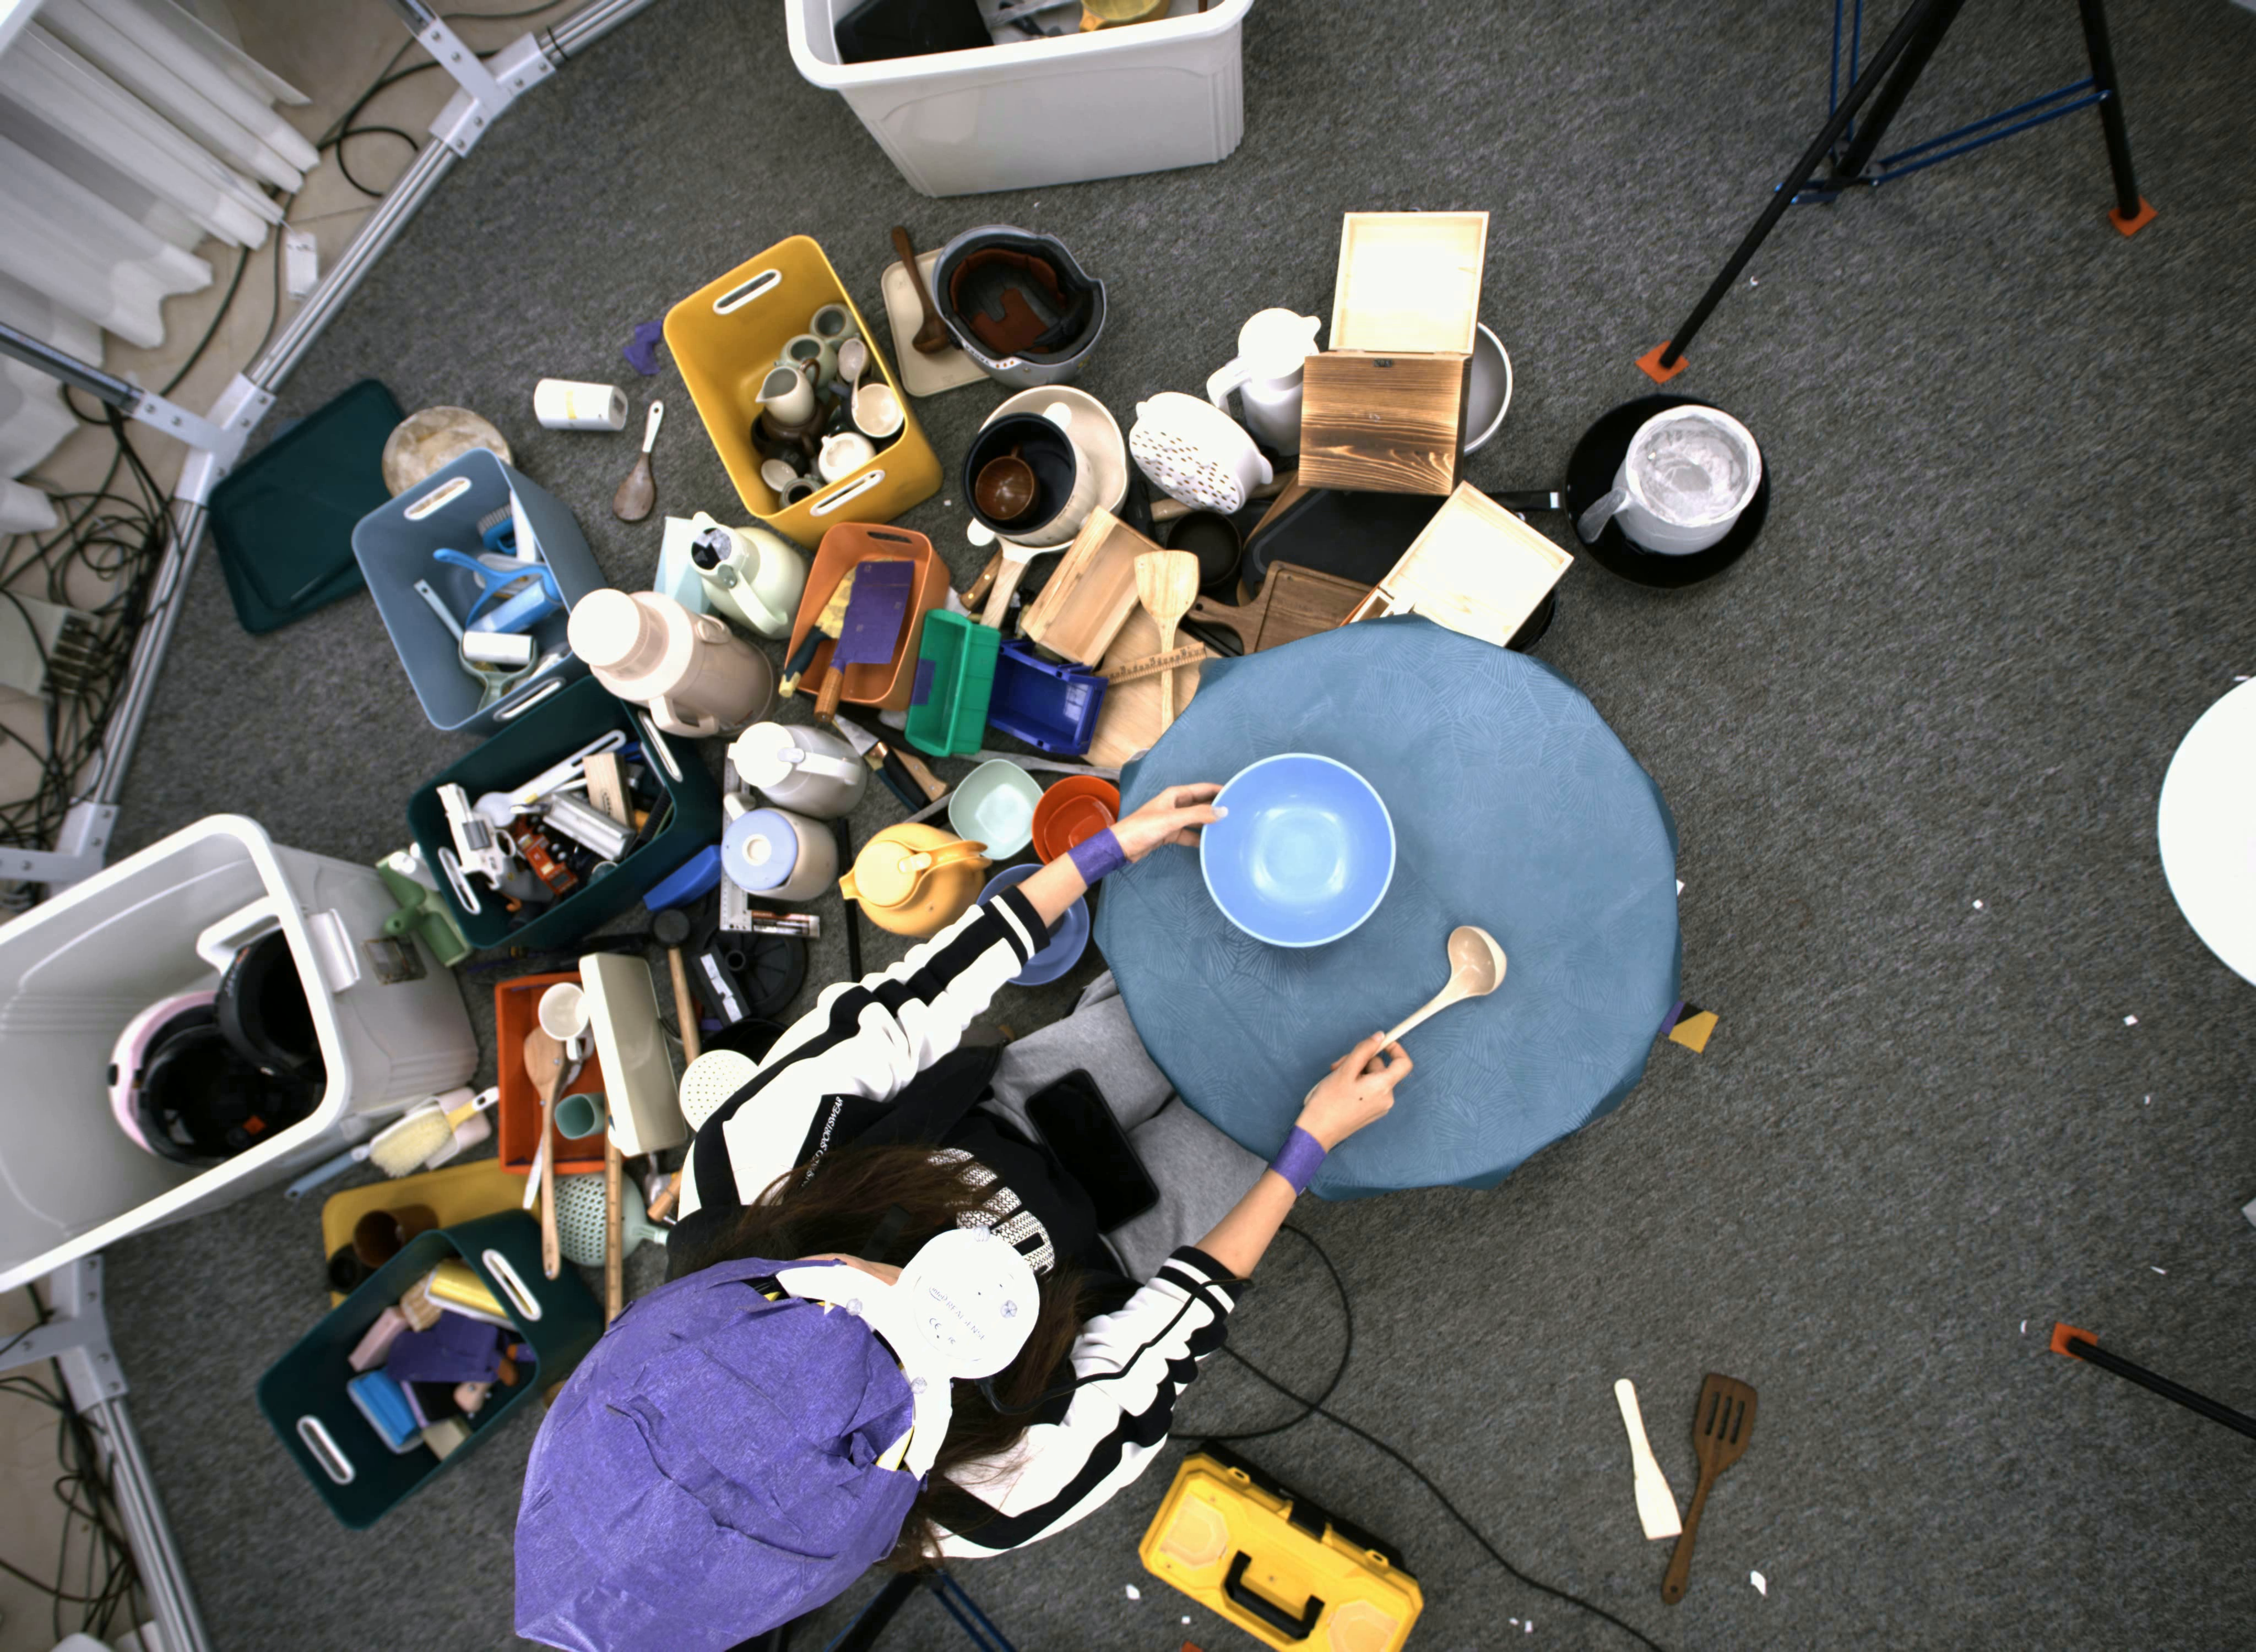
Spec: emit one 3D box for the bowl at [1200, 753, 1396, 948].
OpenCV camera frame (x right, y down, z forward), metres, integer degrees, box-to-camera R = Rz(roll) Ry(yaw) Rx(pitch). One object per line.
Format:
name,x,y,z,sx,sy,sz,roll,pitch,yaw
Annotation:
bowl,0.176,0.027,1.434,0.197,0.095,0.196,-1,87,8

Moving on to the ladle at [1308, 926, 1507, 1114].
ladle,0.275,0.195,1.399,0.254,0.074,0.071,-38,54,-4
